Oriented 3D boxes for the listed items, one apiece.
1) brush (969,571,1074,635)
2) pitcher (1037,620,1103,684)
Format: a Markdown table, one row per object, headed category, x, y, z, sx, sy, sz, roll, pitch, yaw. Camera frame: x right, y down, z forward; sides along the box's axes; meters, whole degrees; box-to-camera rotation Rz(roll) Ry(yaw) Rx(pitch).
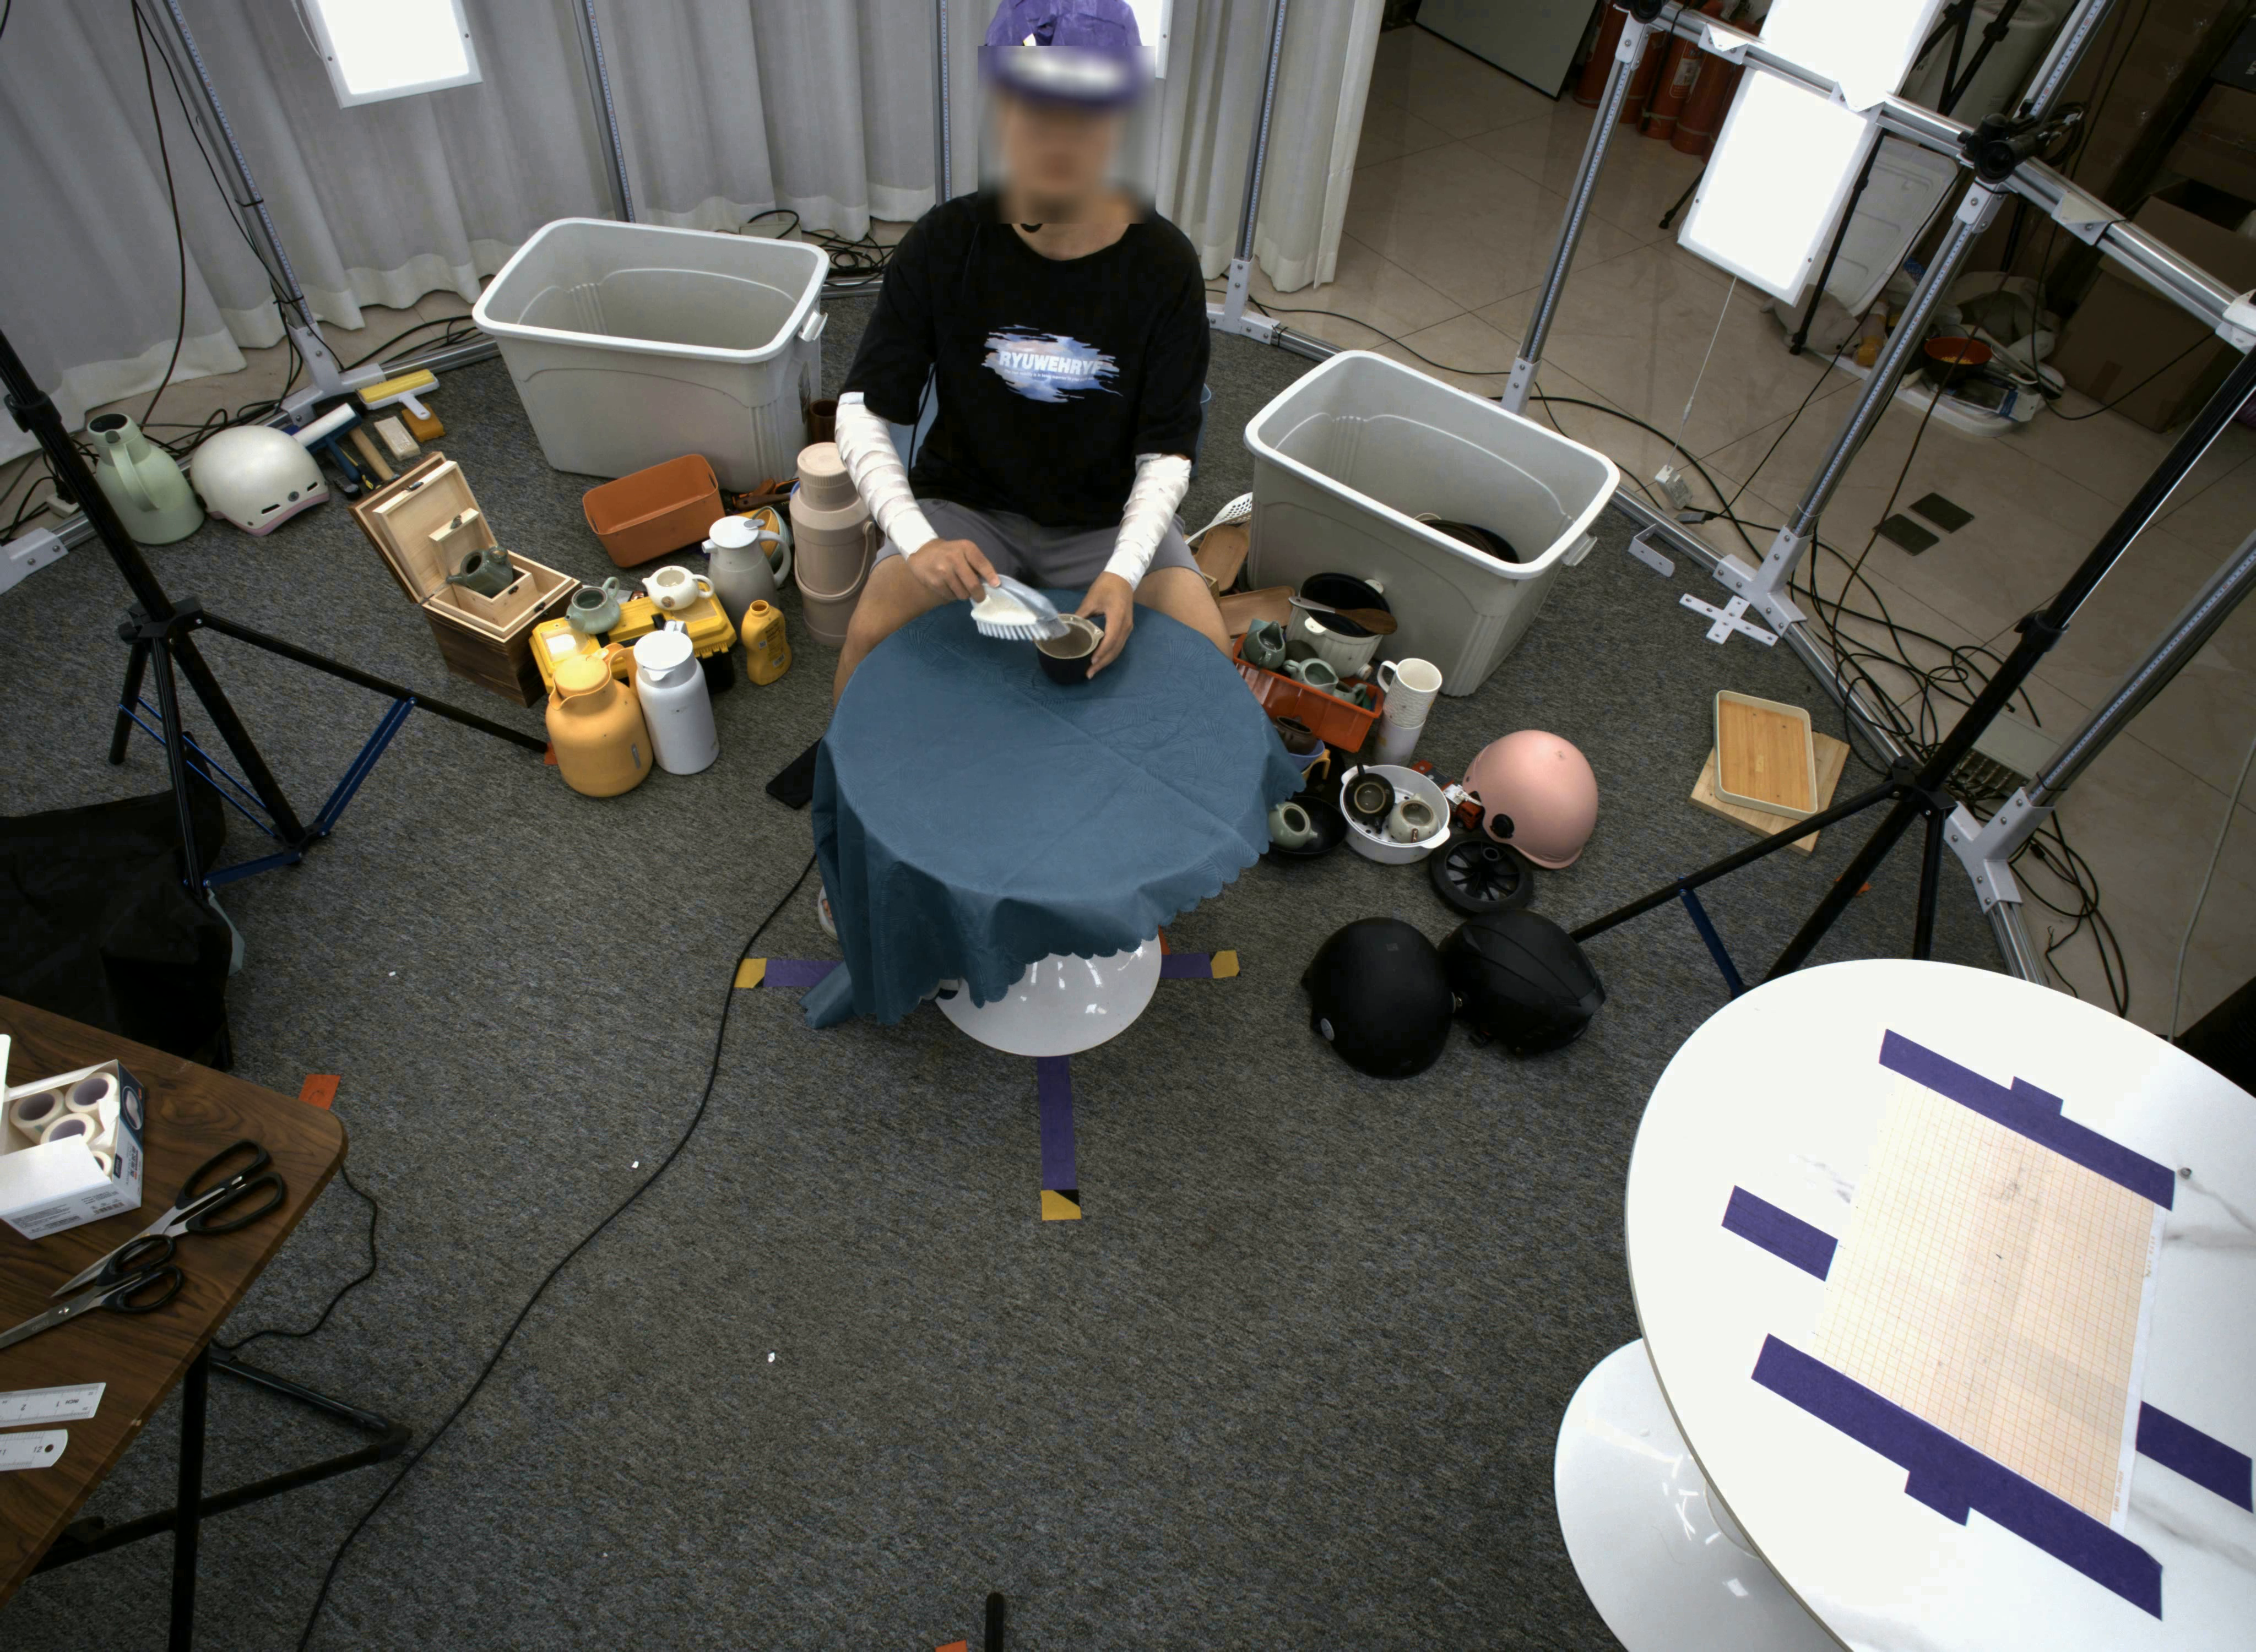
| category | x | y | z | sx | sy | sz | roll | pitch | yaw |
| --- | --- | --- | --- | --- | --- | --- | --- | --- | --- |
| brush | -0.155 | -0.316 | 1.803 | 0.177 | 0.092 | 0.062 | 18 | 64 | 41 |
| pitcher | -0.084 | -0.247 | 1.833 | 0.096 | 0.069 | 0.086 | -7 | 49 | -13 |
